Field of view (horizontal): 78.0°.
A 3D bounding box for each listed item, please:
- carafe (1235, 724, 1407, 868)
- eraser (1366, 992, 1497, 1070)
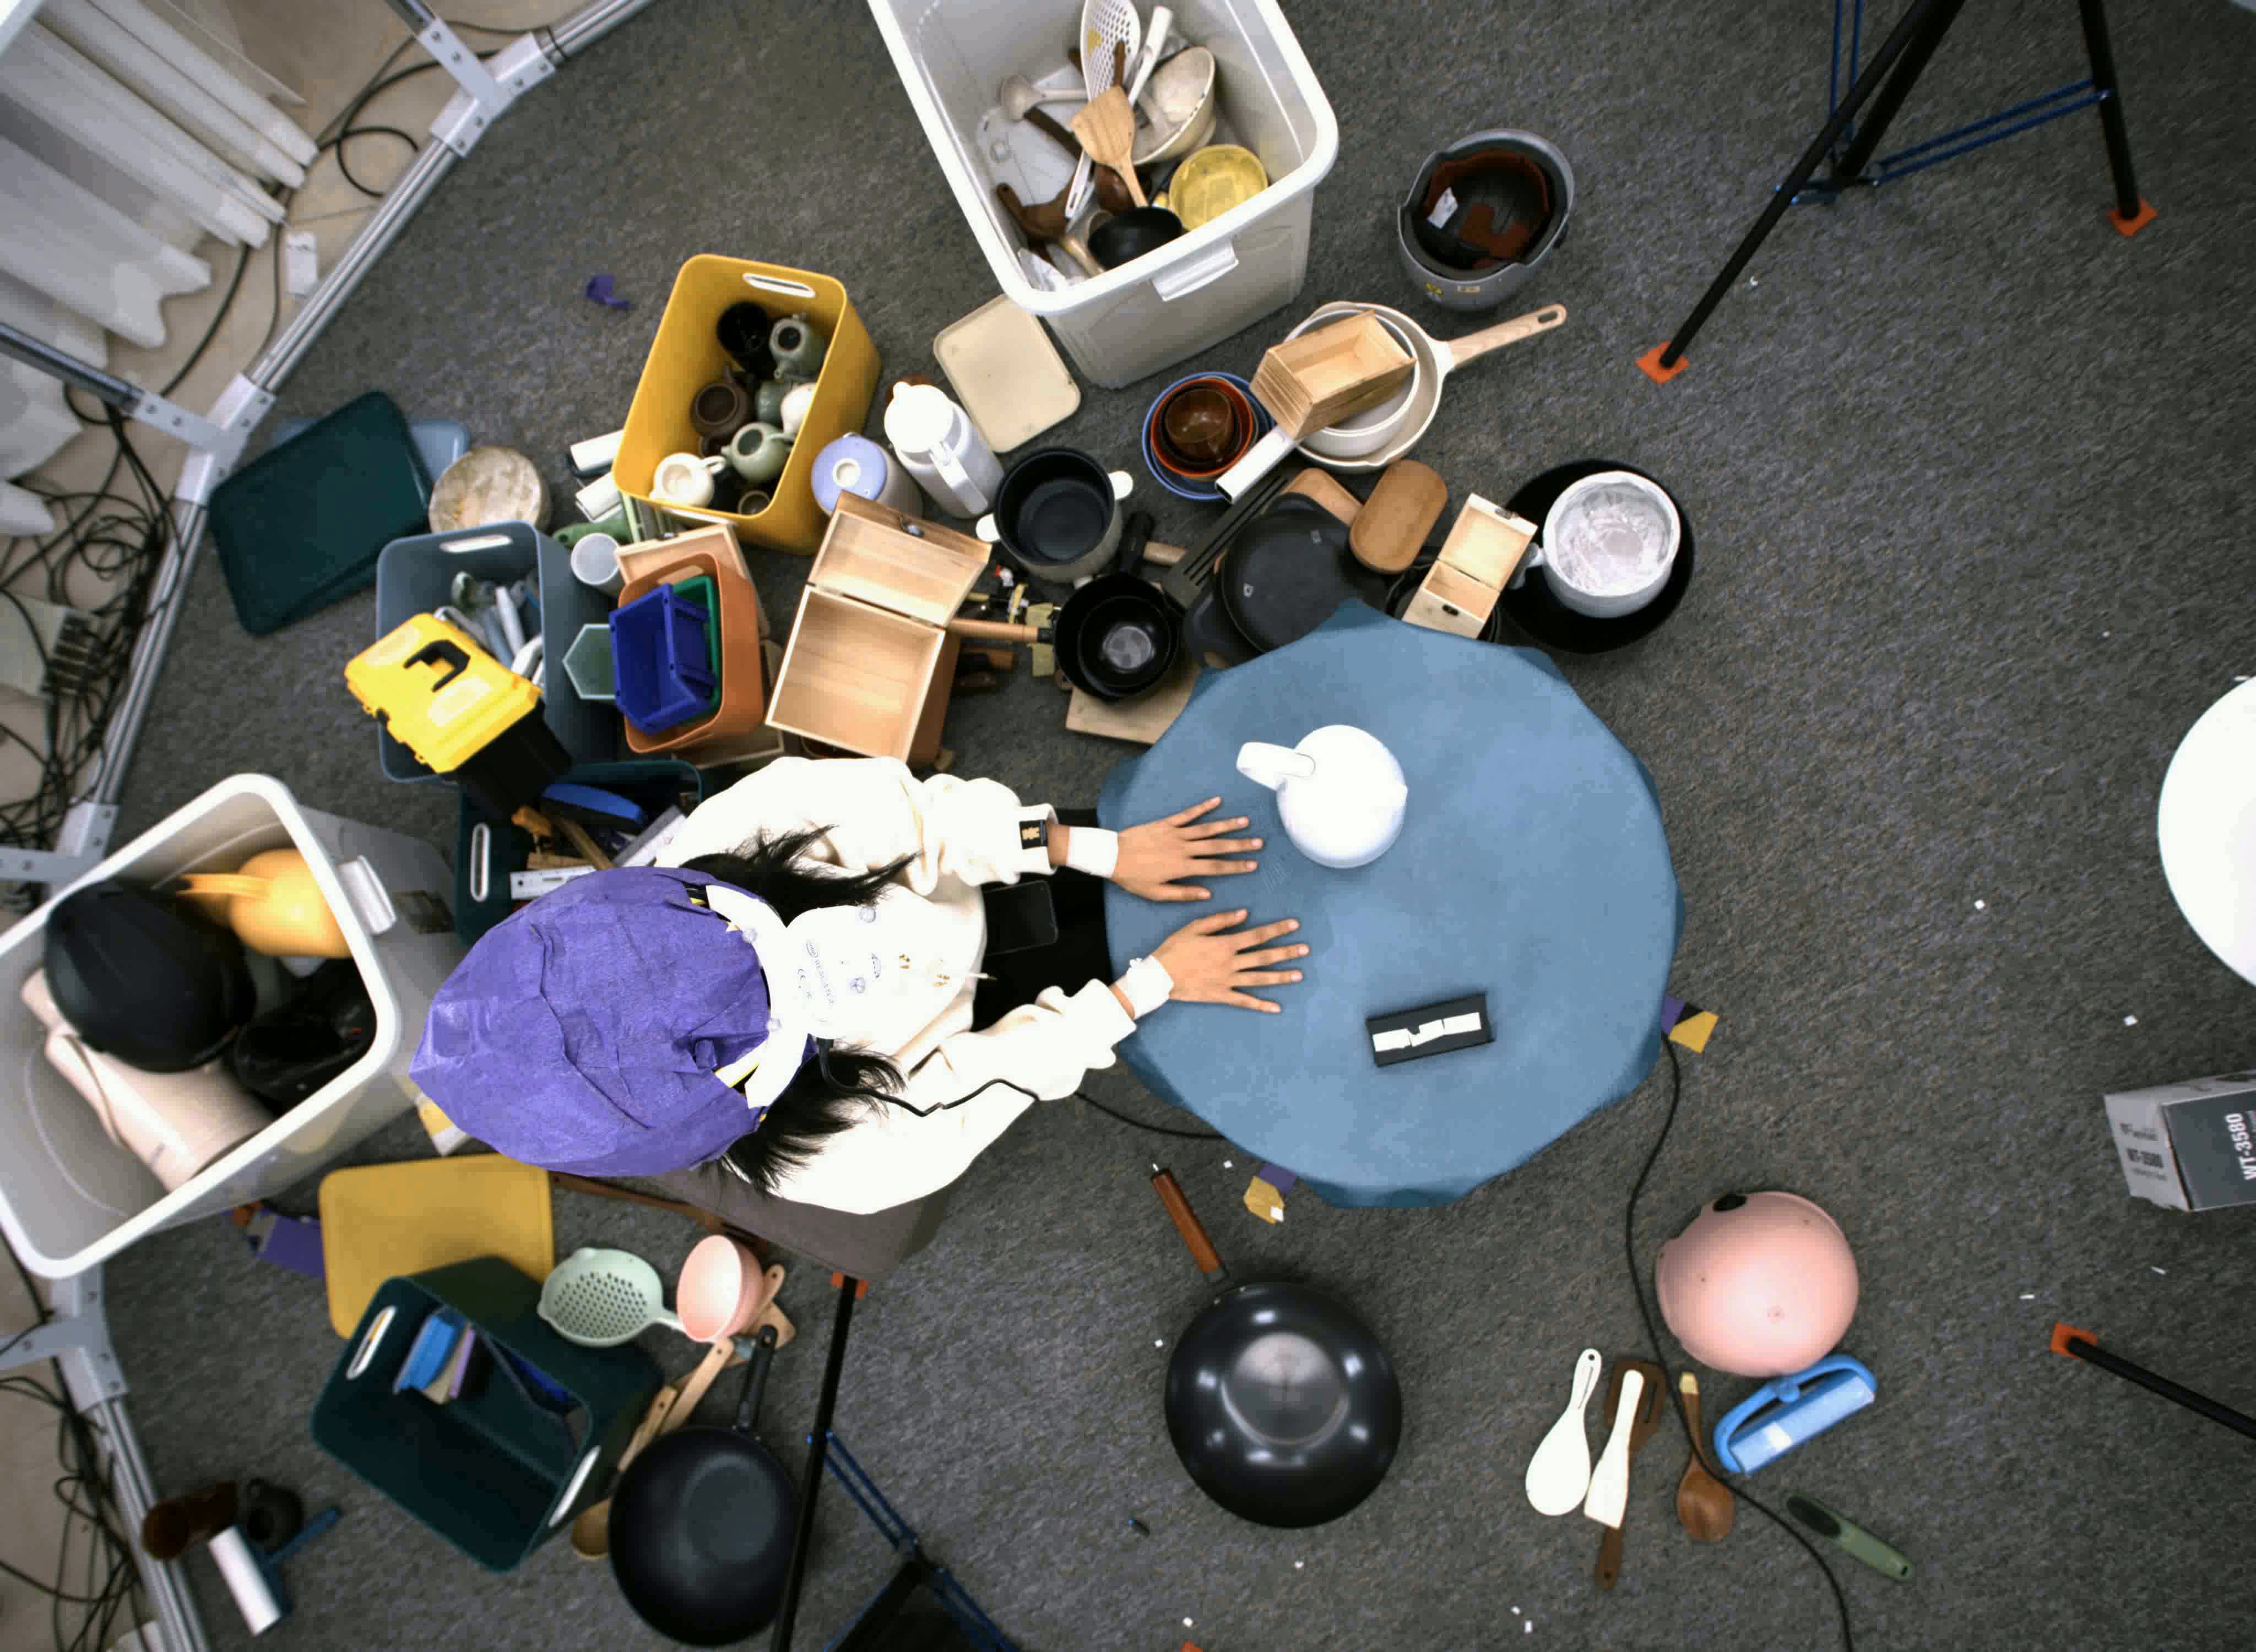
[{"bbox_3d":[0.189,-0.039,1.355,0.168,0.249,0.132,17,88,12],"label":"carafe"},{"bbox_3d":[0.314,0.210,1.430,0.126,0.030,0.053,-15,82,10],"label":"eraser"}]
